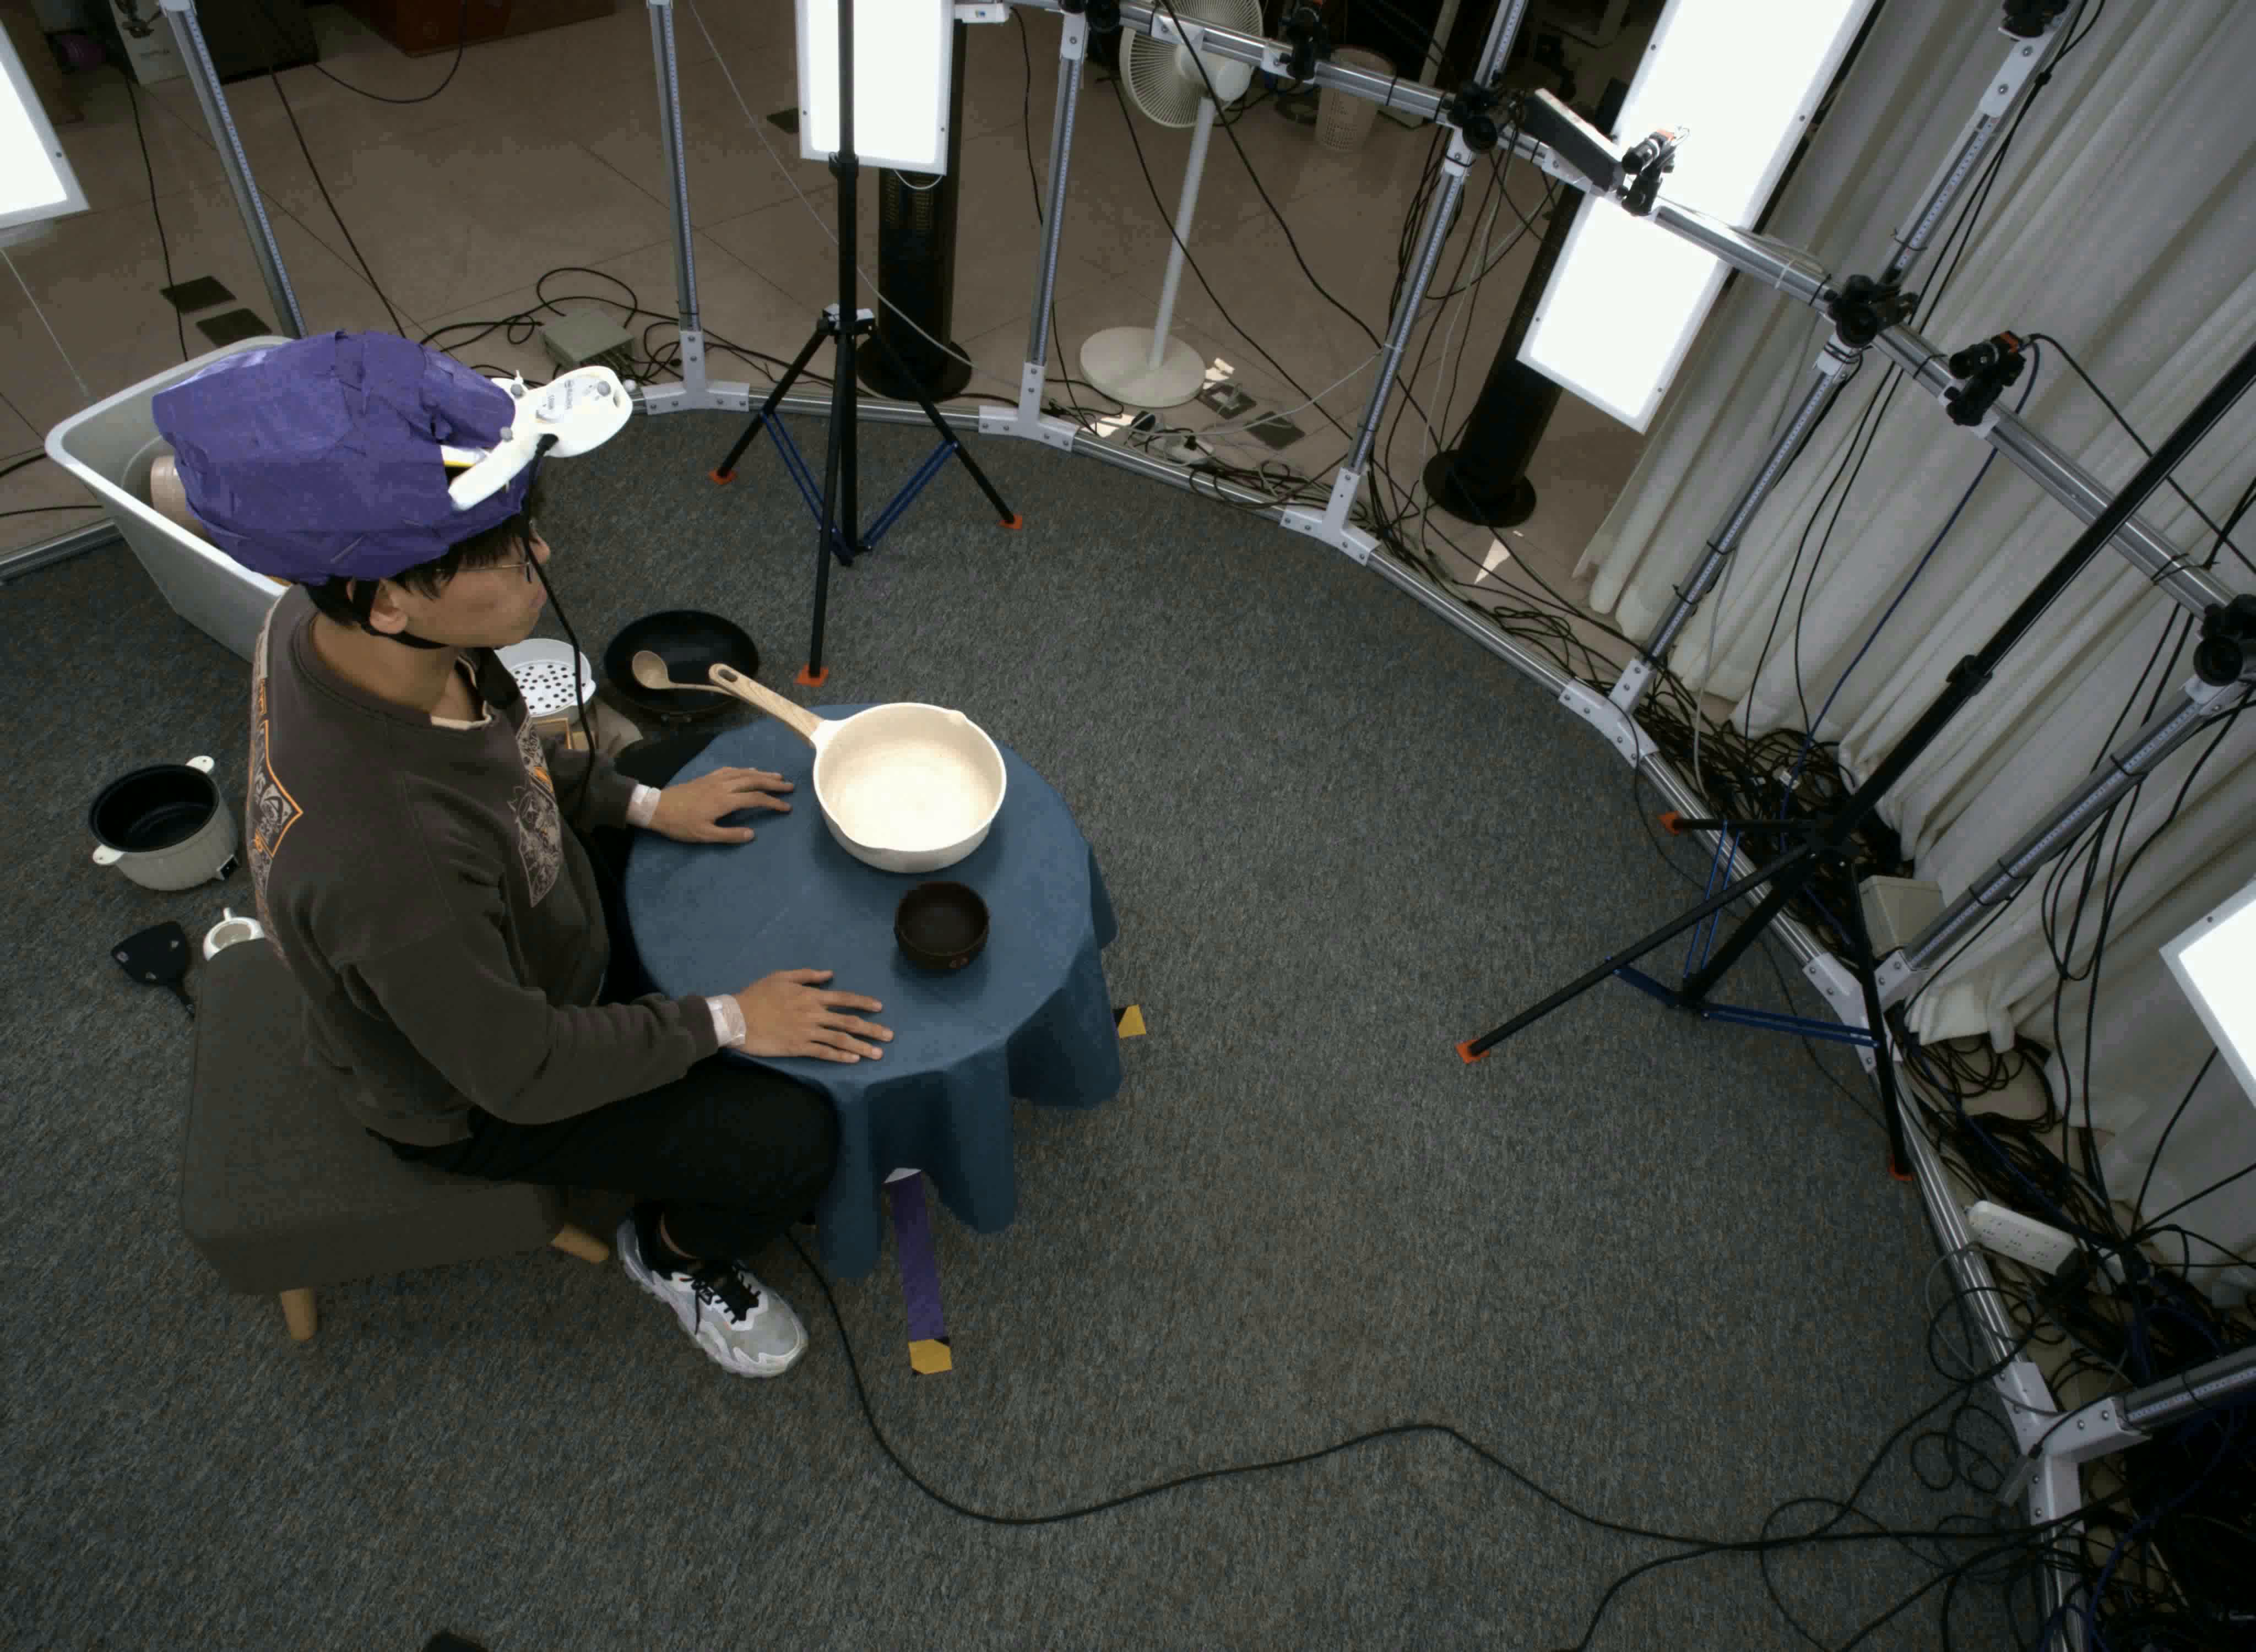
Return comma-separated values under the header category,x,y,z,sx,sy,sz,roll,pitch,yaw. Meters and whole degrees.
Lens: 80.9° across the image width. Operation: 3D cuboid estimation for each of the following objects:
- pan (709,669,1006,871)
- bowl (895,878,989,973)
category,x,y,z,sx,sy,sz,roll,pitch,yaw
pan,-0.372,-0.091,1.755,0.428,0.104,0.262,25,55,6
bowl,-0.234,0.131,1.642,0.117,0.071,0.116,6,54,-7
